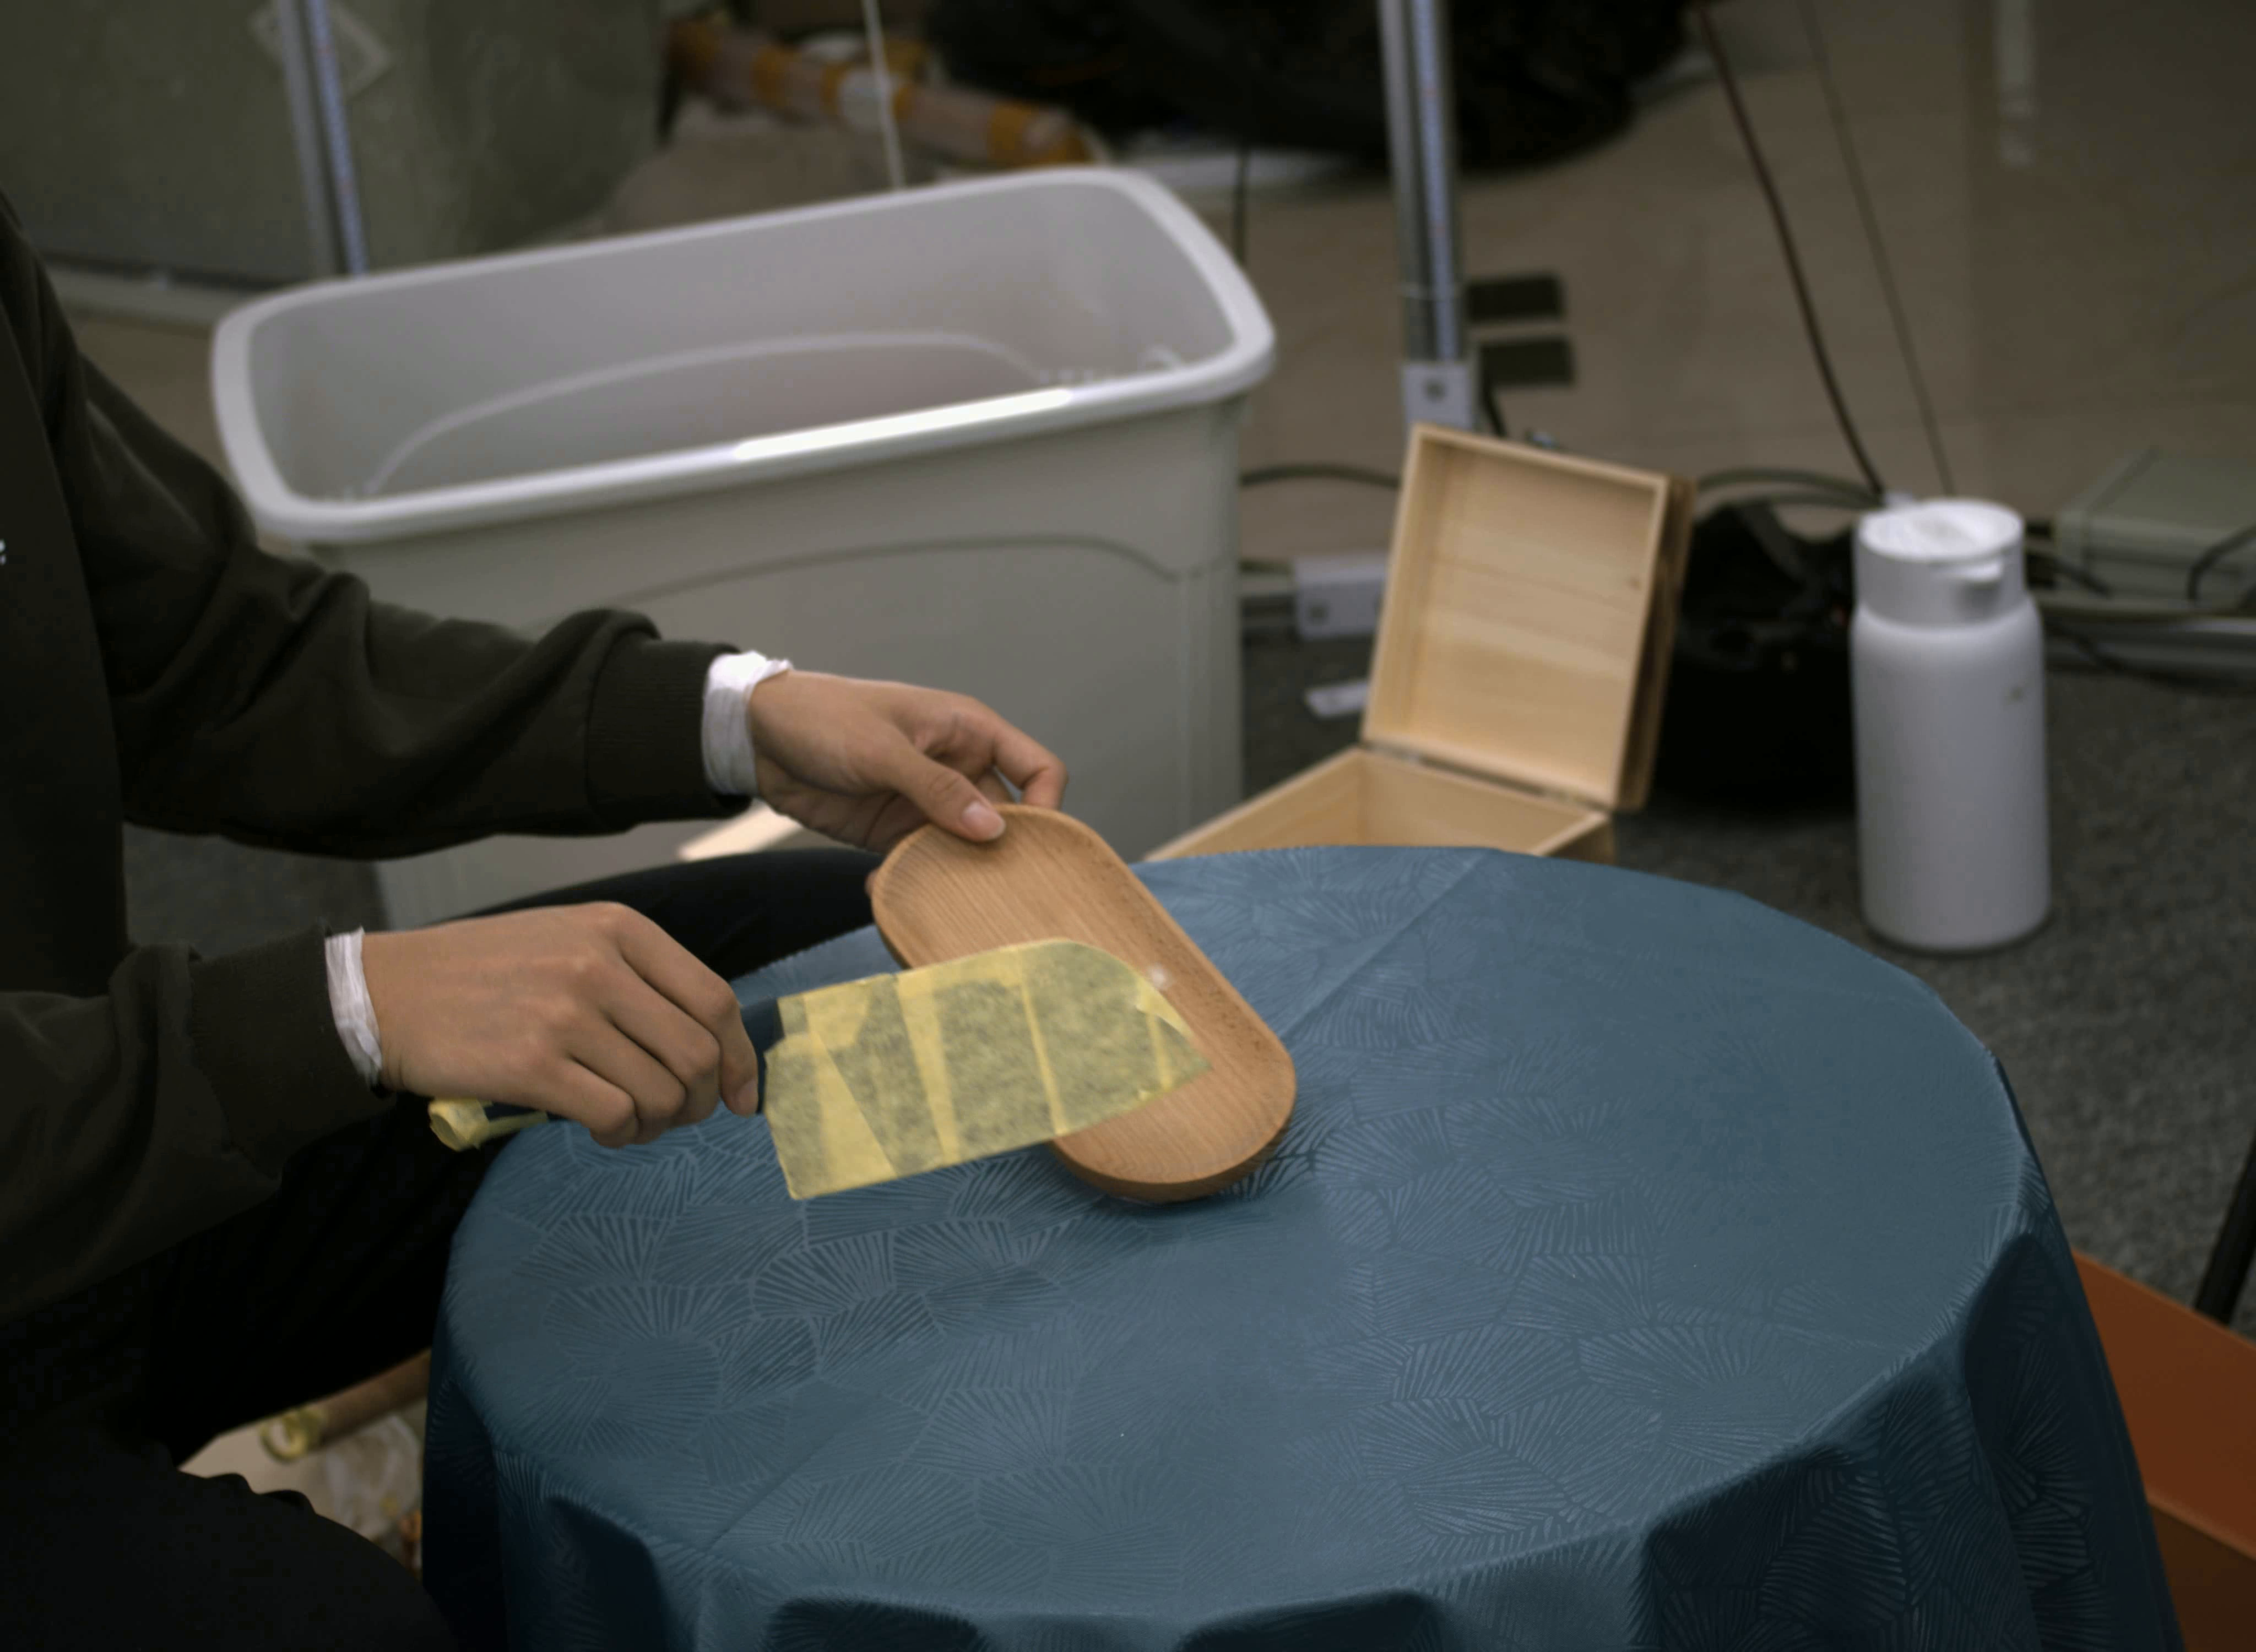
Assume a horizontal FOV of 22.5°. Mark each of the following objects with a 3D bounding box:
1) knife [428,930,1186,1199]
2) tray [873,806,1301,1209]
[{"bbox_3d":[-0.111,0.092,2.050,0.288,0.081,0.027,-10,-6,-21],"label":"knife"},{"bbox_3d":[-0.017,0.069,2.208,0.101,0.021,0.228,-26,50,-18],"label":"tray"}]
